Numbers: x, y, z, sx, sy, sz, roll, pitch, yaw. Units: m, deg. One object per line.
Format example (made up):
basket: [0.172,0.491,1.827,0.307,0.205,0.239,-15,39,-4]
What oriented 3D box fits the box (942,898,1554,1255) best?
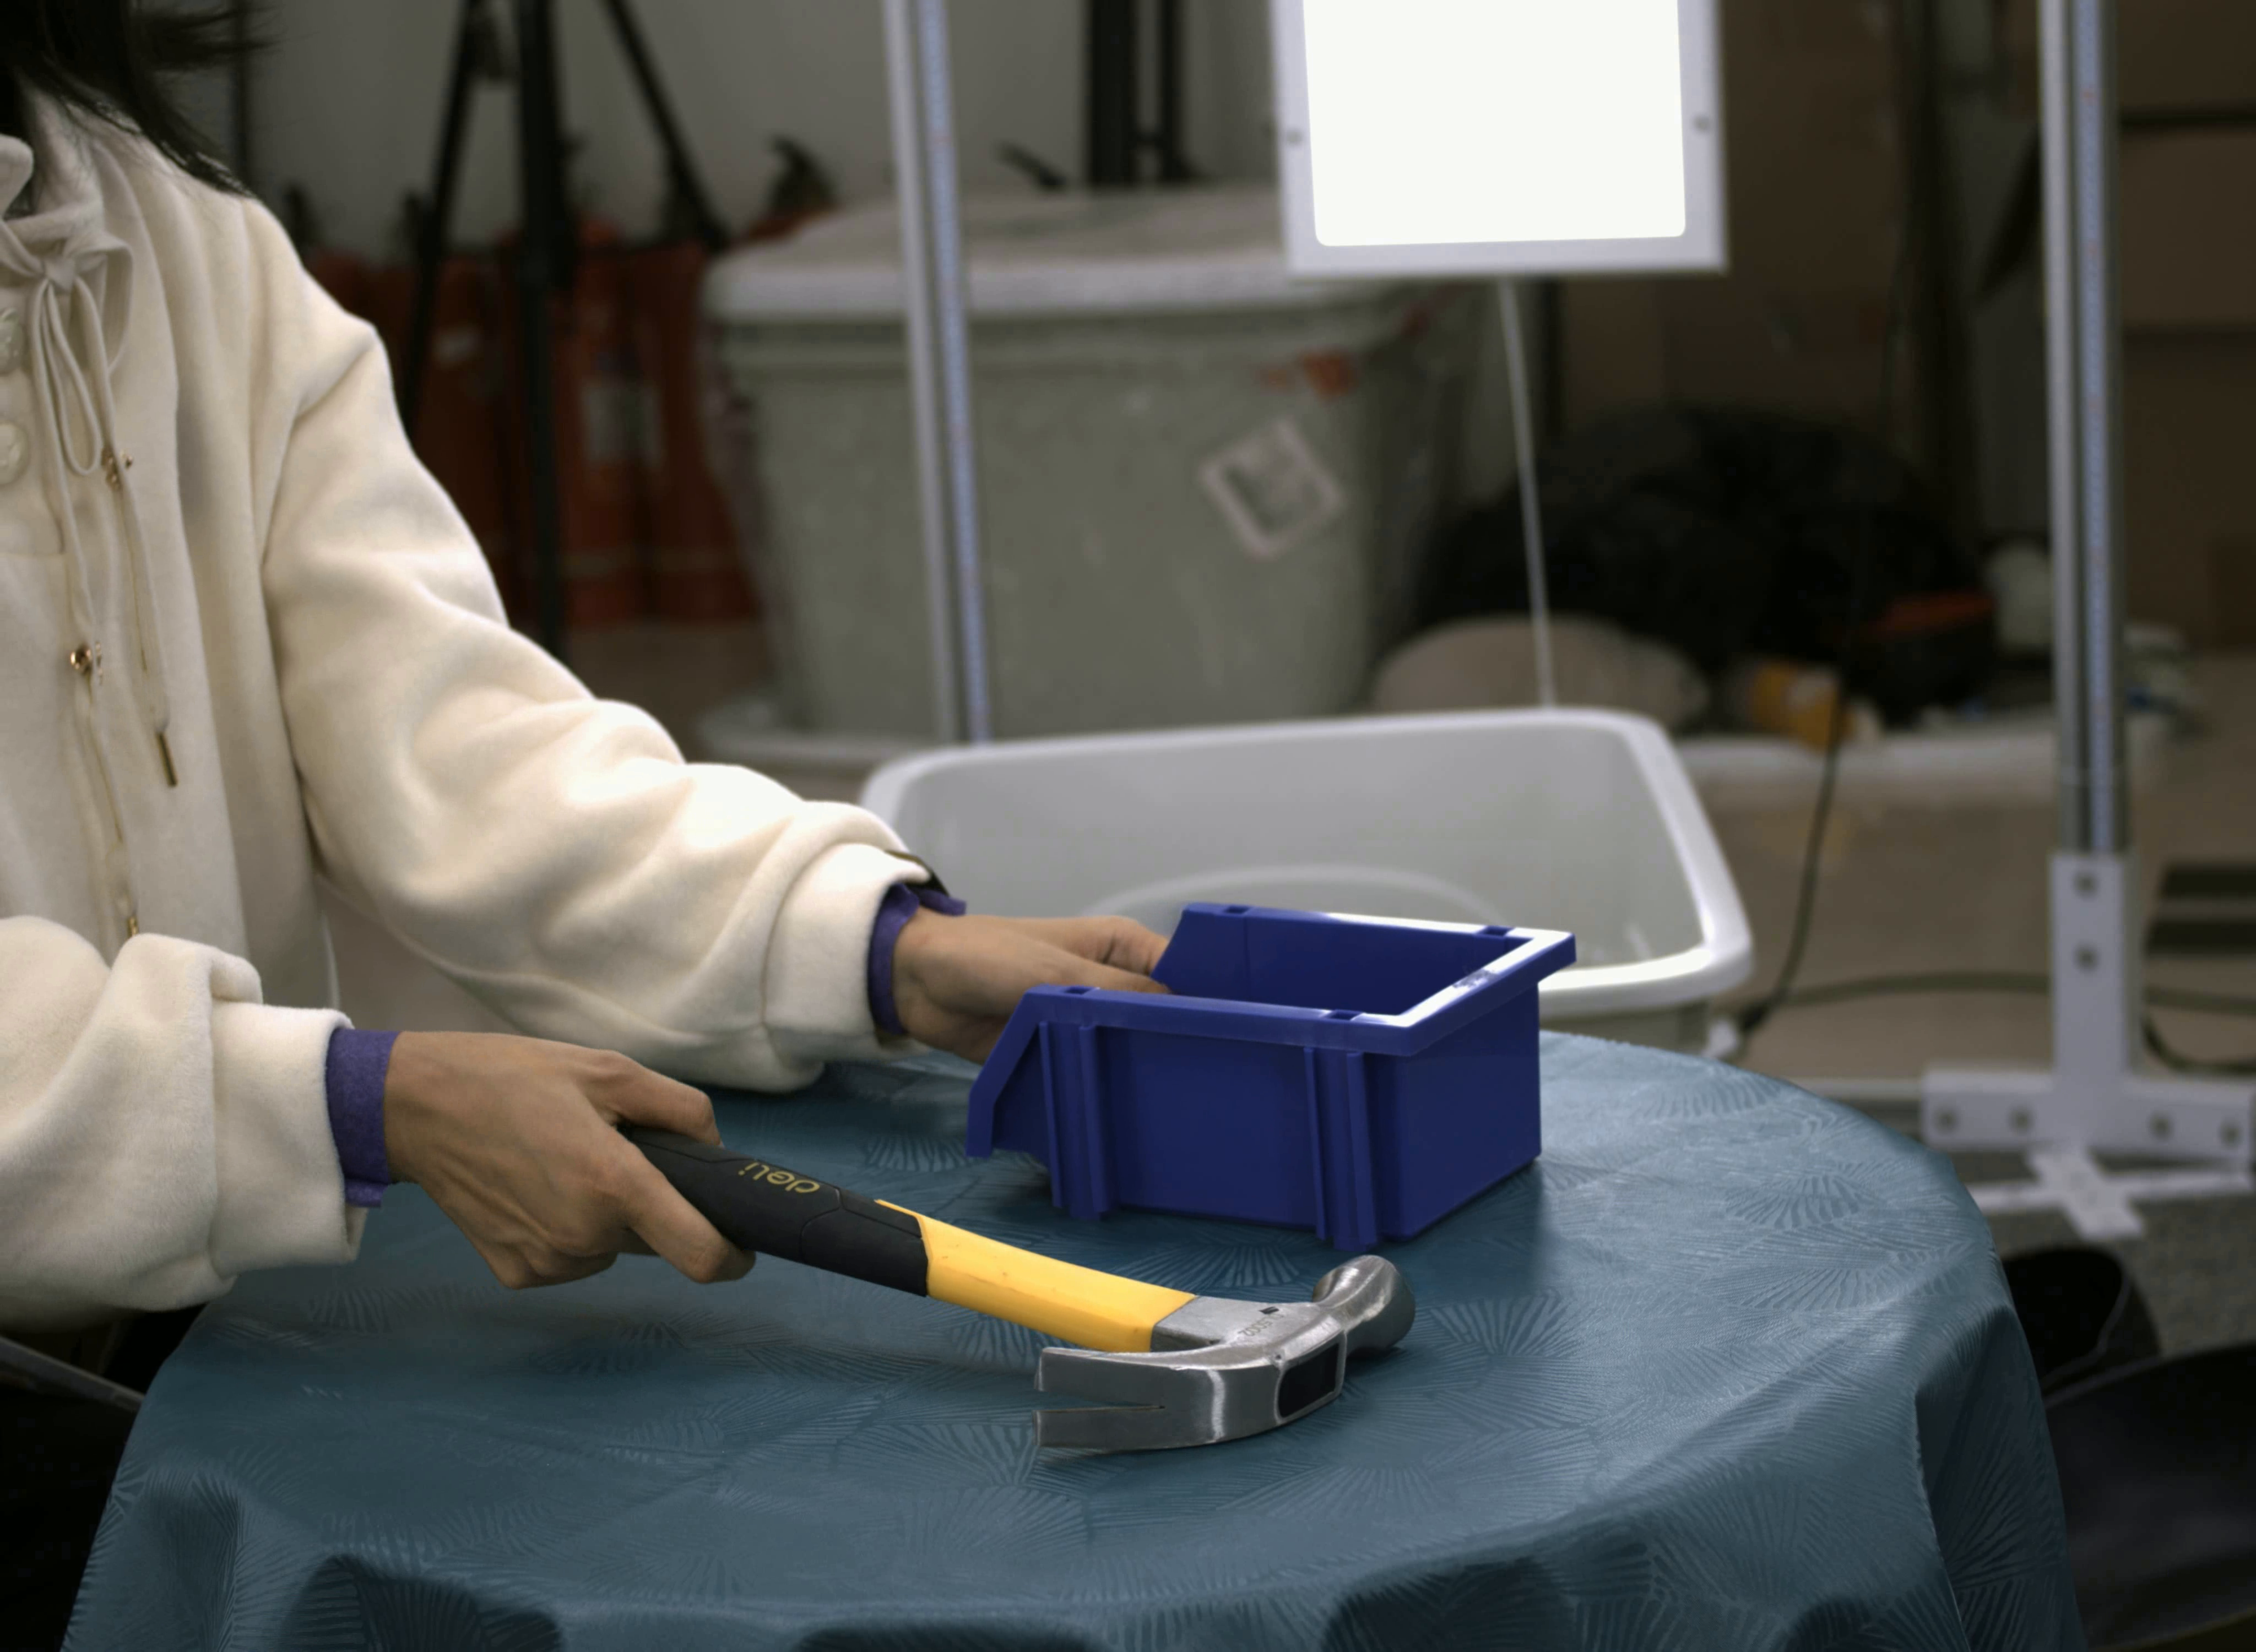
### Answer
box: [0.040,0.083,1.890,0.183,0.082,0.121,7,18,34]

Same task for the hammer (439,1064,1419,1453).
hammer: [-0.083,0.129,1.753,0.345,0.032,0.128,15,25,33]
